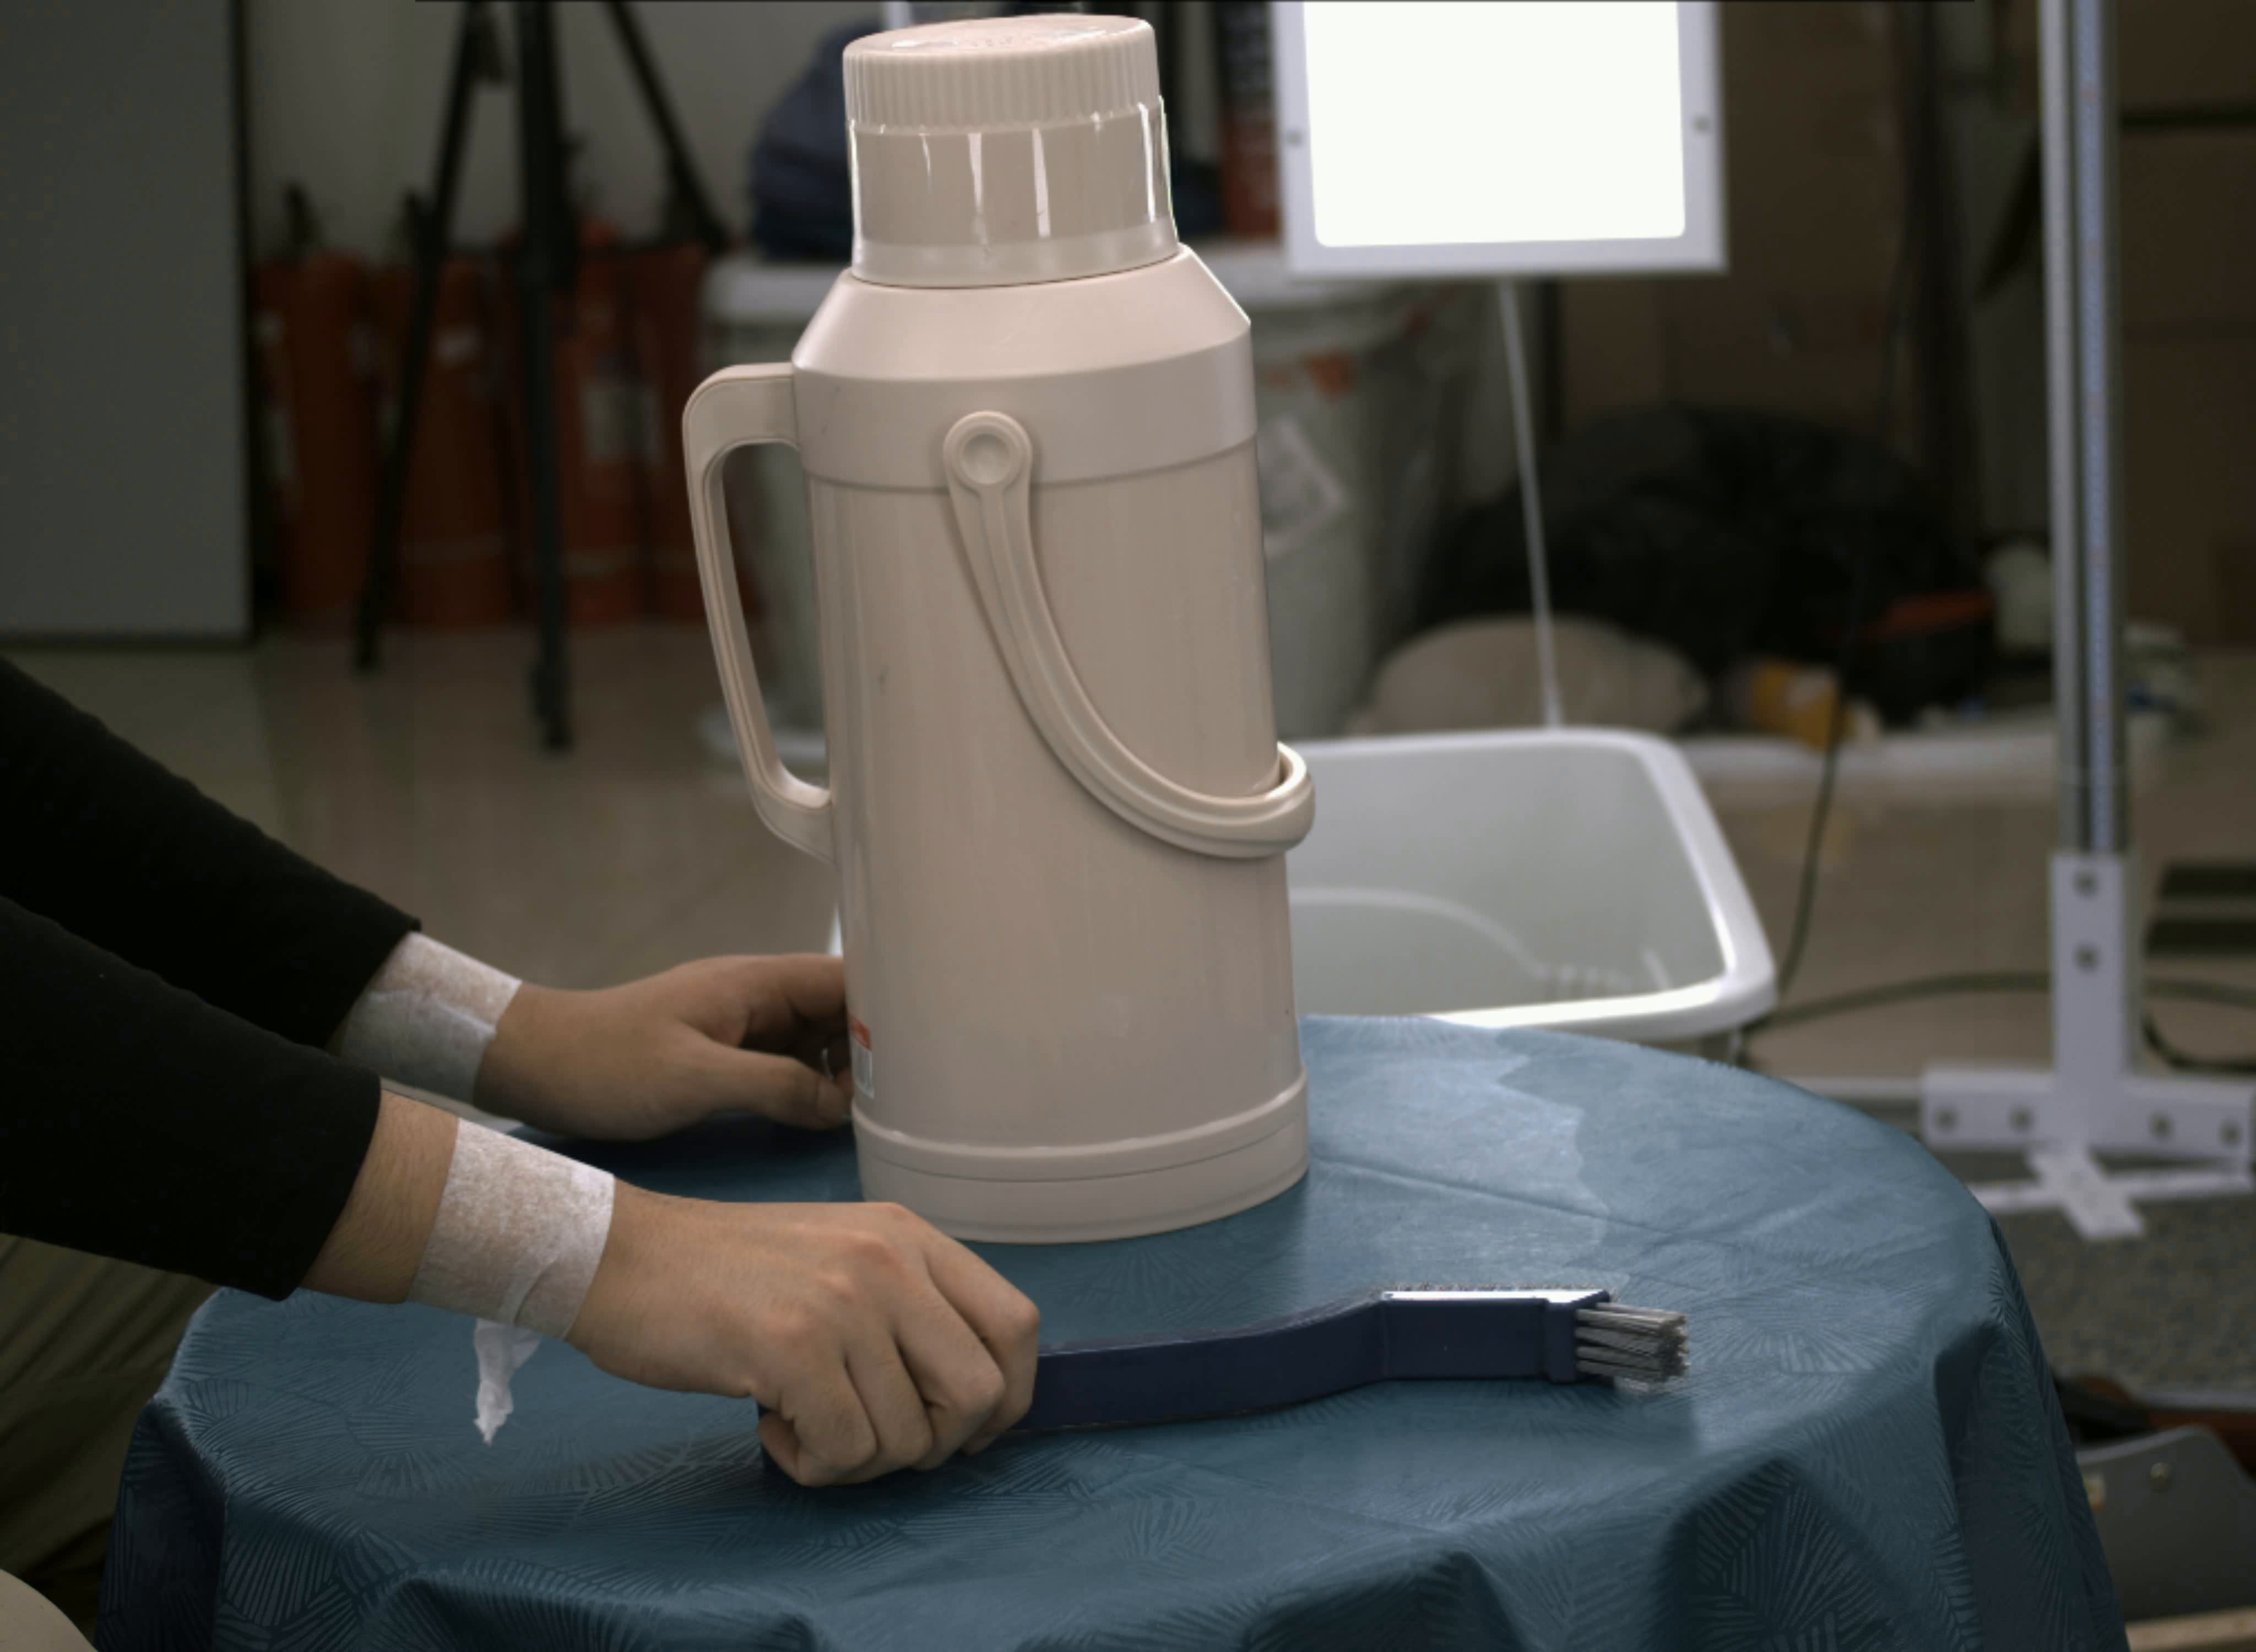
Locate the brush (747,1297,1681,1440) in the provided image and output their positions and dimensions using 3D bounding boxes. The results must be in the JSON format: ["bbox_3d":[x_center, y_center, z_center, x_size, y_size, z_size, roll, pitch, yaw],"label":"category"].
[{"bbox_3d":[0.024,0.165,1.663,0.270,0.033,0.096,-5,12,-10],"label":"brush"}]

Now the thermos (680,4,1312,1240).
[{"bbox_3d":[-0.044,-0.071,1.882,0.208,0.408,0.174,-2,16,9],"label":"thermos"}]
